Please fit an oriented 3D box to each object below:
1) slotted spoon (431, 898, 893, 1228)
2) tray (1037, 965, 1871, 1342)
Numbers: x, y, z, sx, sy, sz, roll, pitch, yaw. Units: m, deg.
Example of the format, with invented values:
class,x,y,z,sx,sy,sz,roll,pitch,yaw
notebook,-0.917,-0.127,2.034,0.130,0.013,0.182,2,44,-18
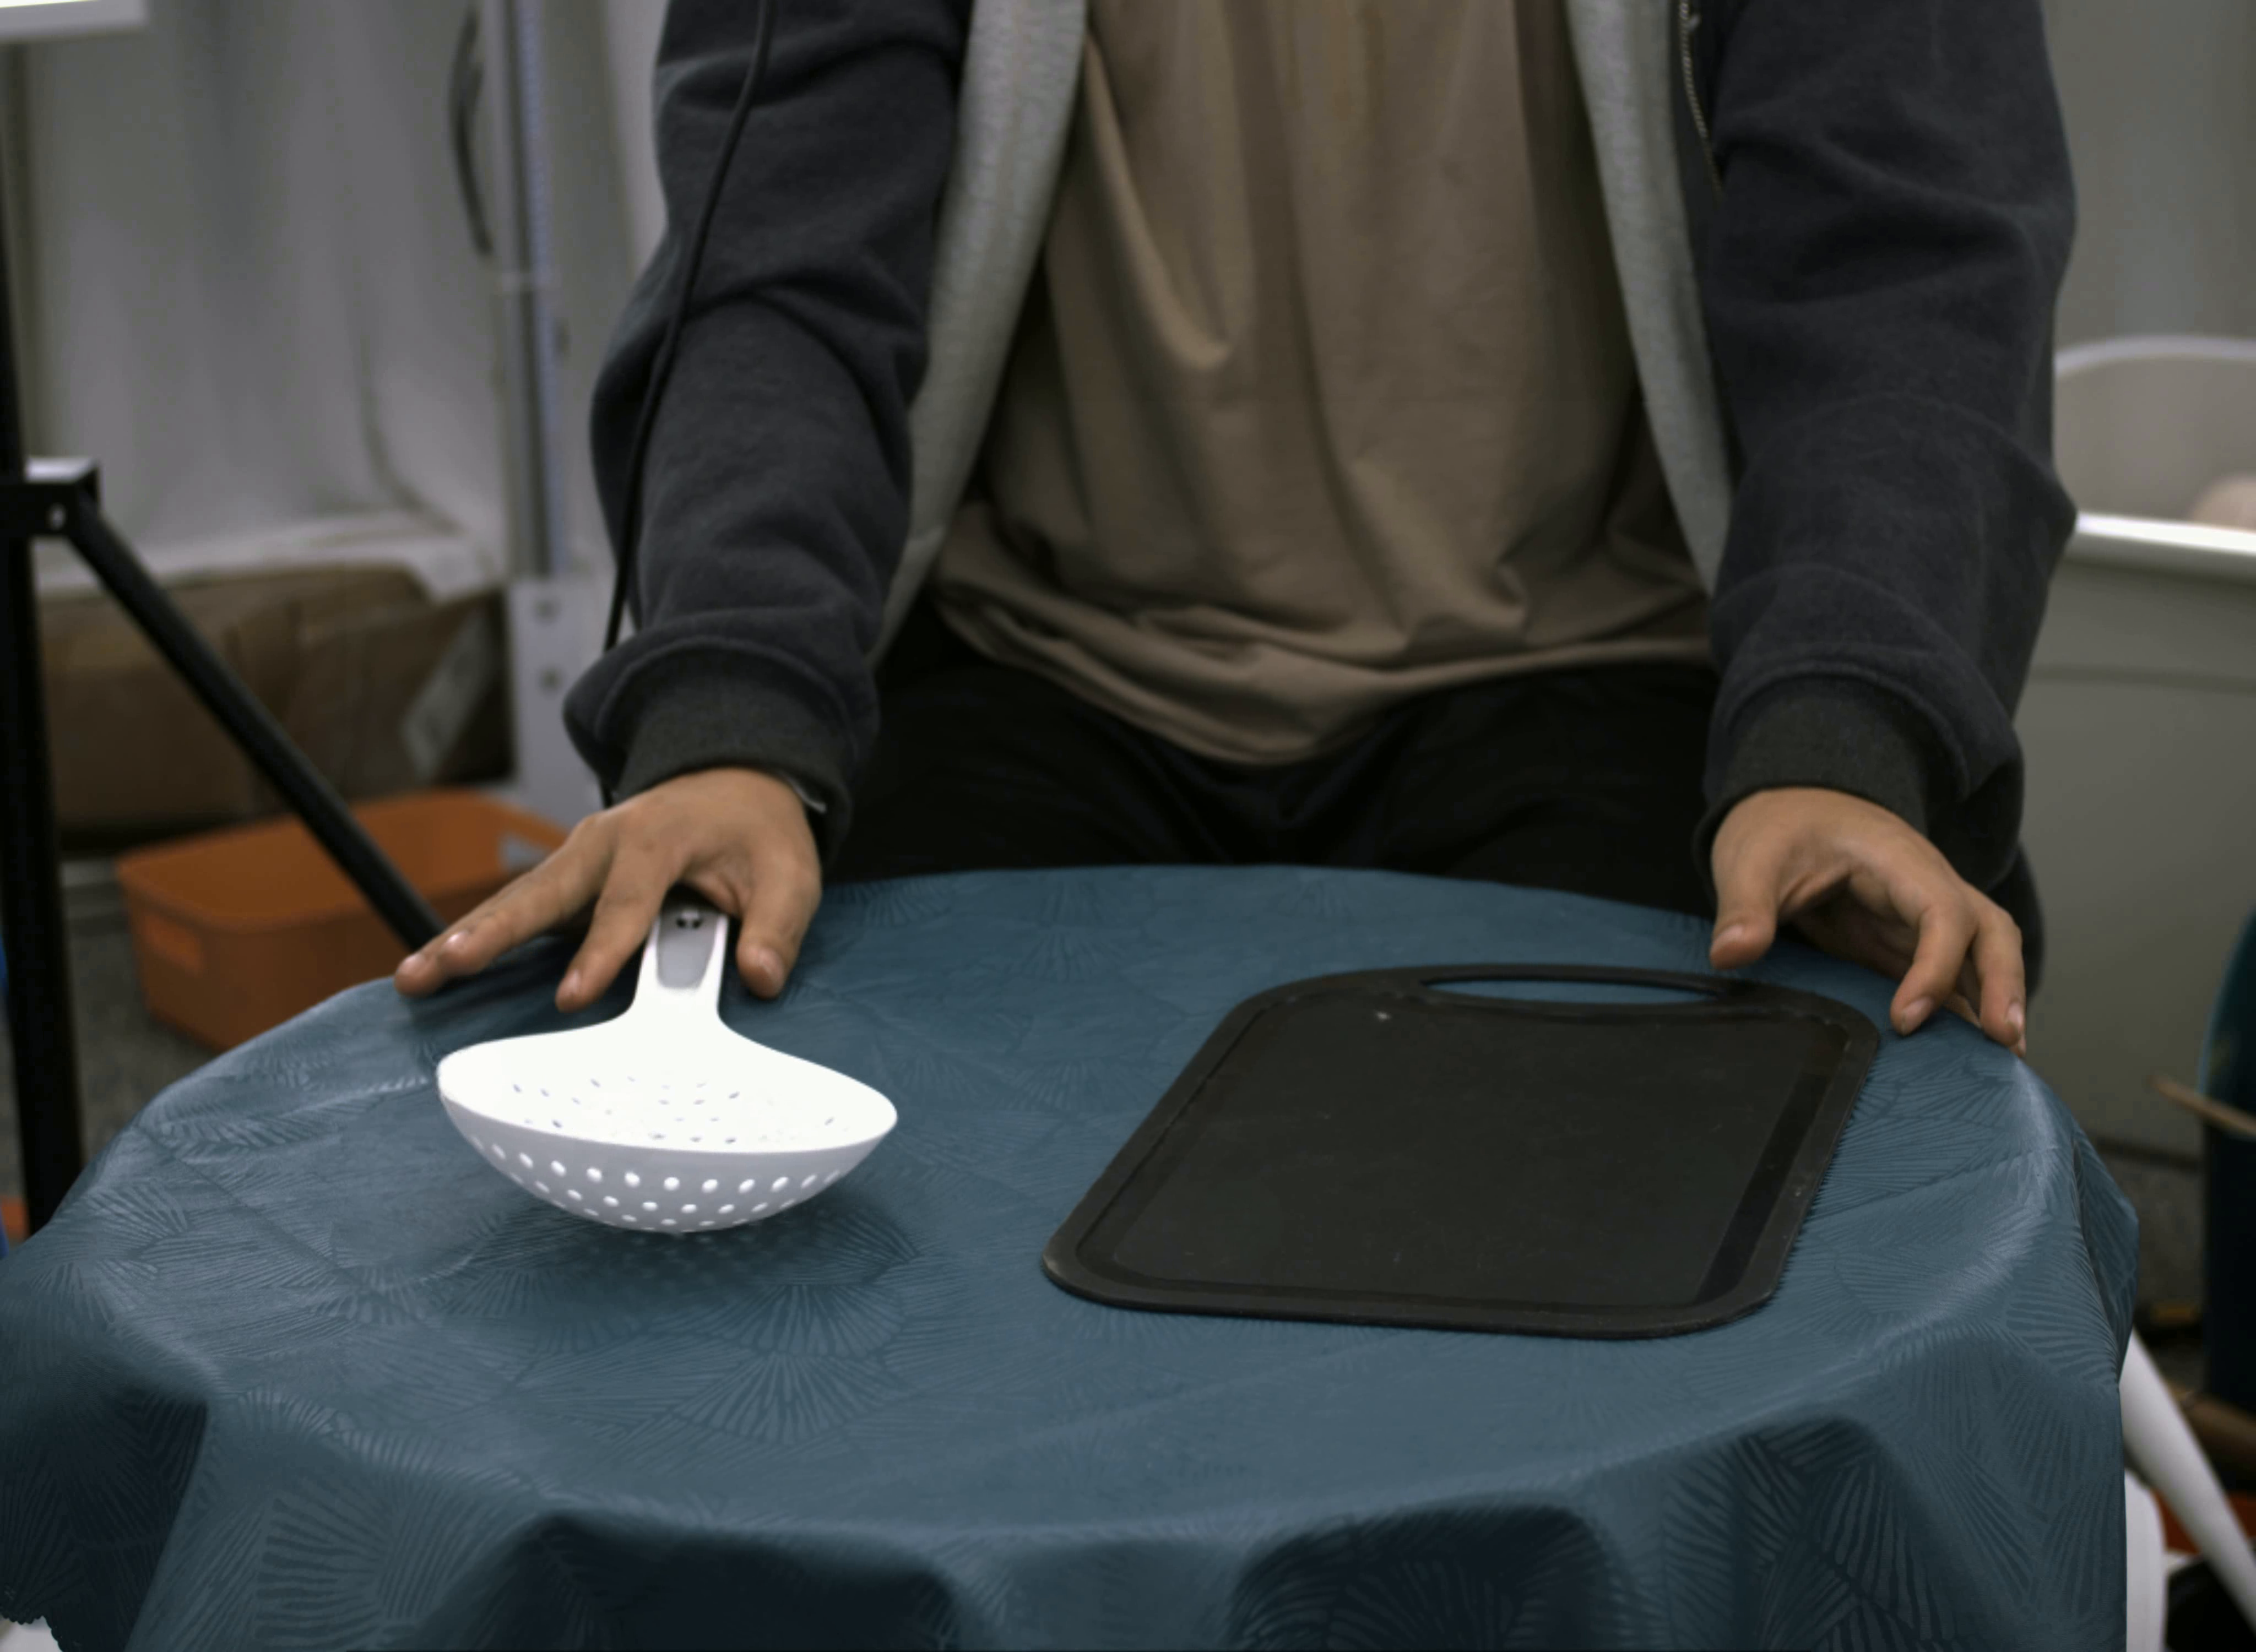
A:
class,x,y,z,sx,sy,sz,roll,pitch,yaw
slotted spoon,-0.142,0.064,1.652,0.135,0.046,0.351,8,14,-4
tray,0.106,0.090,1.594,0.213,0.010,0.322,2,17,16
